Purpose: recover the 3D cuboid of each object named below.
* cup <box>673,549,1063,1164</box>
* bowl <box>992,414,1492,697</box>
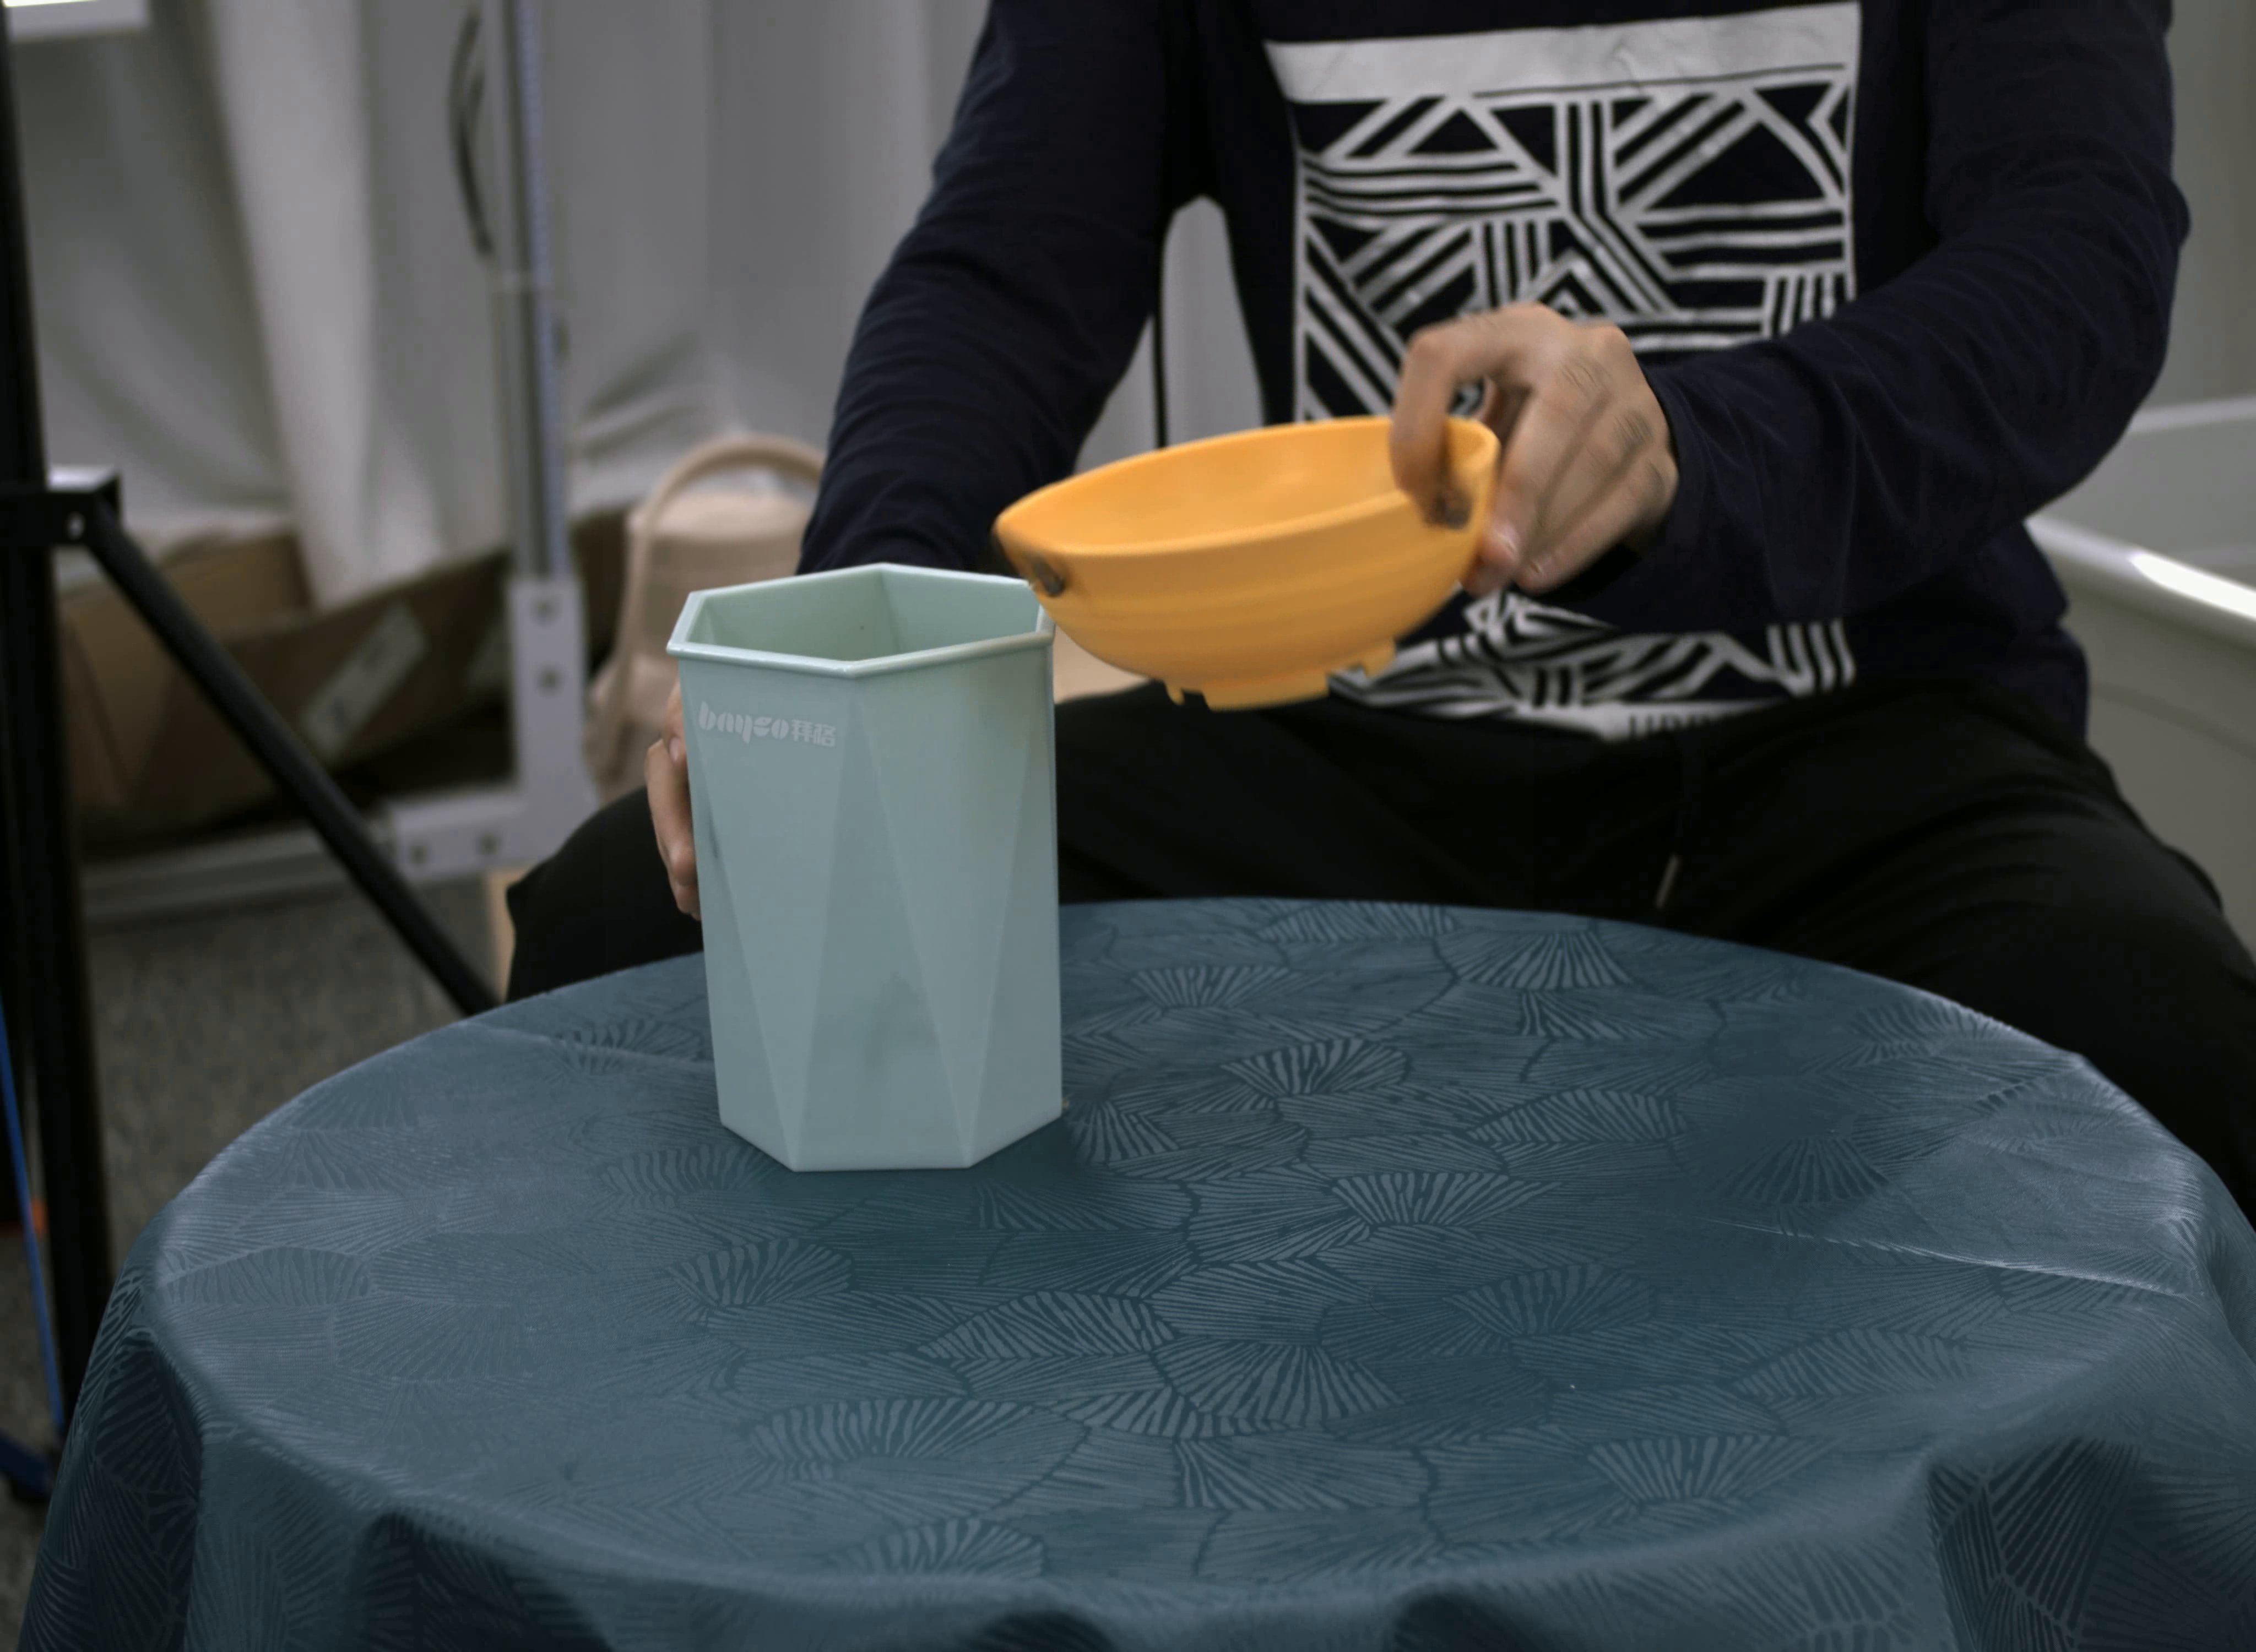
[{"bbox_3d":[-0.075,0.011,1.610,0.133,0.163,0.113,8,18,30],"label":"cup"},{"bbox_3d":[0.036,-0.073,1.518,0.145,0.060,0.146,-9,12,1],"label":"bowl"}]
